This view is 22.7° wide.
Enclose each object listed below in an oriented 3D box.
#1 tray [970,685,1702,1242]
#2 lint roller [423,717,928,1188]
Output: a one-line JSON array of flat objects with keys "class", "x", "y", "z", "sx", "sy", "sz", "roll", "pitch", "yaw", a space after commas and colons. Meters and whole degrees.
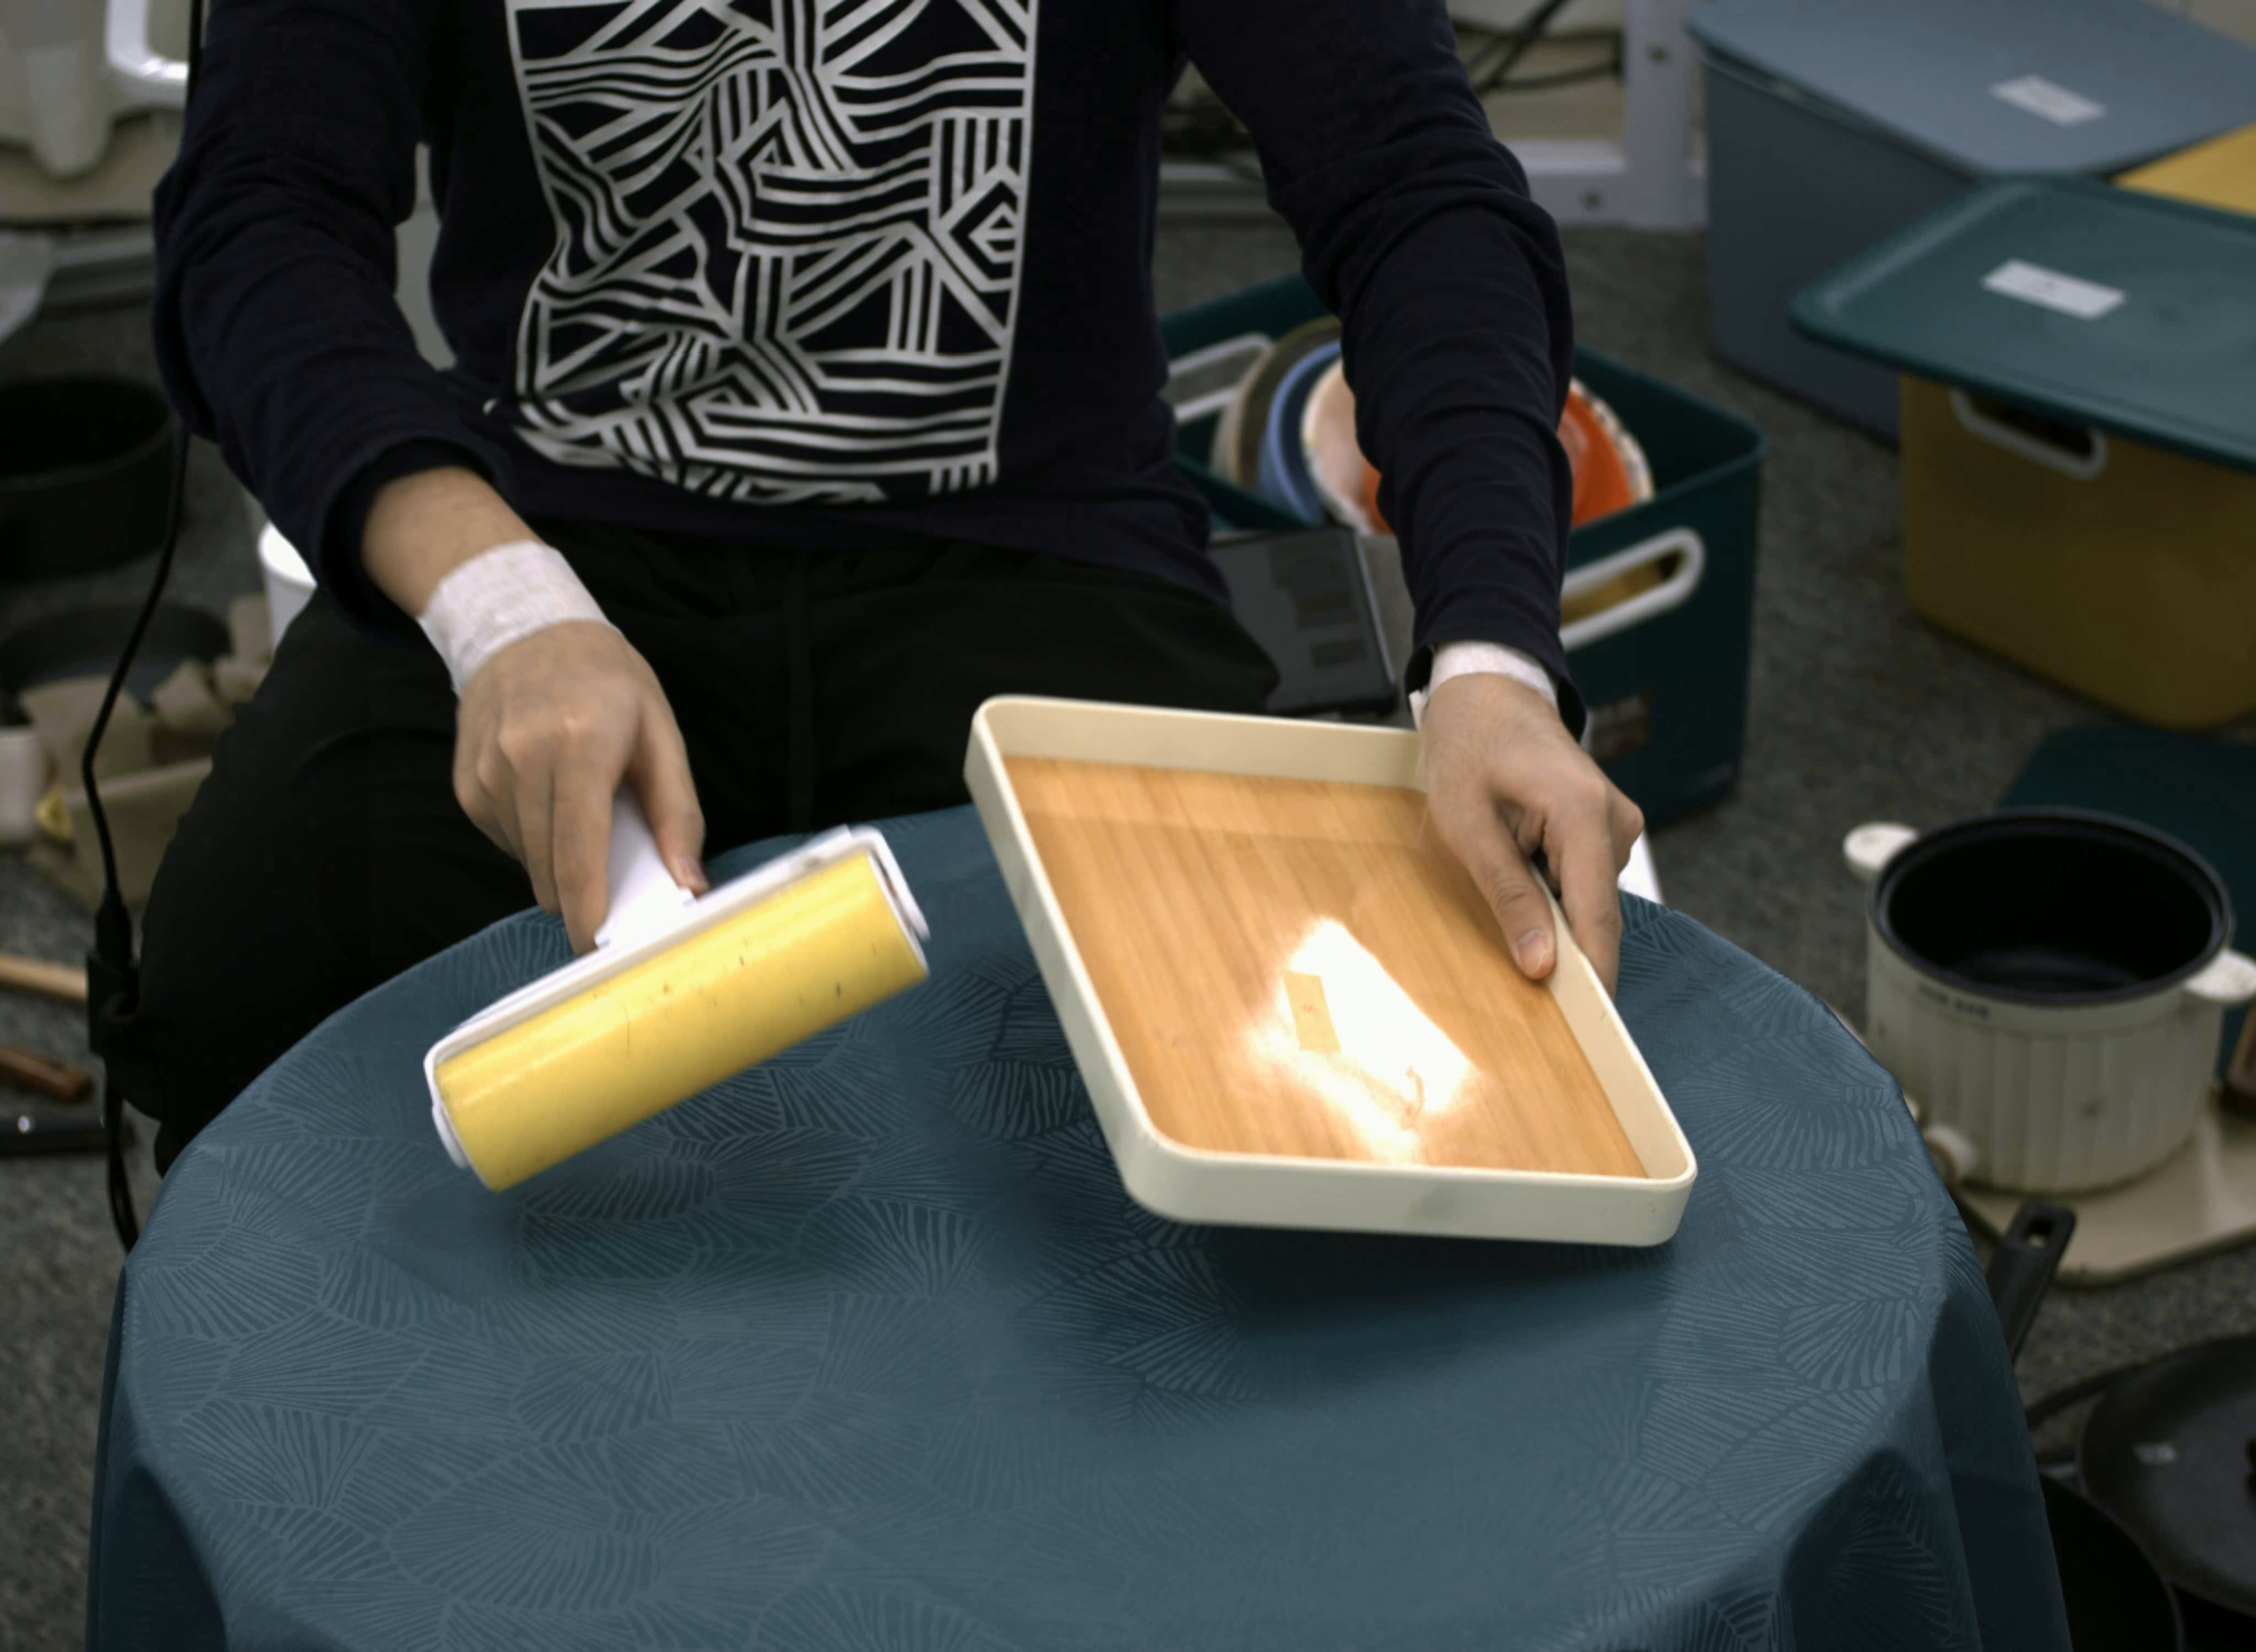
[{"class": "tray", "x": 0.064, "y": 0.042, "z": 1.898, "sx": 0.191, "sy": 0.027, "sz": 0.304, "roll": 6, "pitch": 28, "yaw": -17}, {"class": "lint roller", "x": -0.173, "y": 0.016, "z": 1.898, "sx": 0.174, "sy": 0.051, "sz": 0.194, "roll": -29, "pitch": 47, "yaw": -2}]
